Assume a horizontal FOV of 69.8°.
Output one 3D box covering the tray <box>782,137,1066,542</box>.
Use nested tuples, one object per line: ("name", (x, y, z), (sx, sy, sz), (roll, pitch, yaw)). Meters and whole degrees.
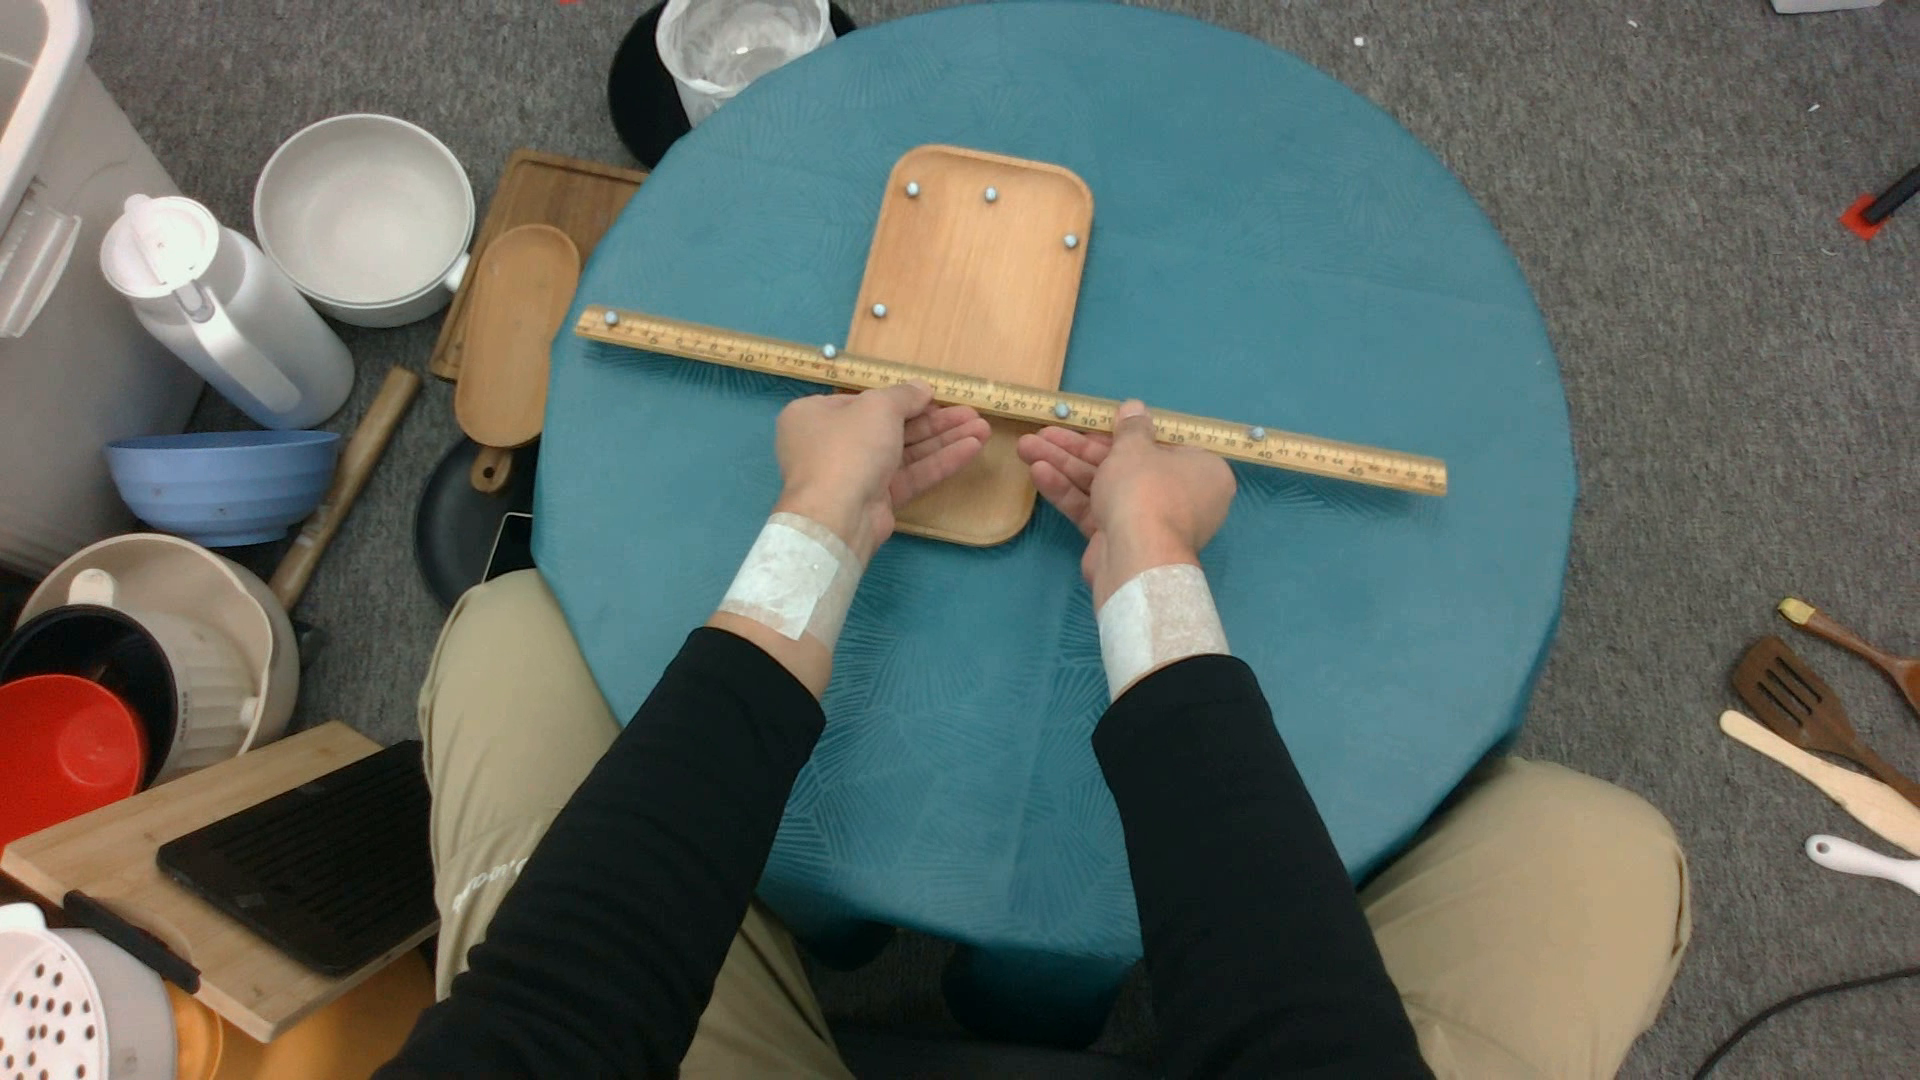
("tray", (-0.018, -0.122, 0.810), (0.130, 0.023, 0.251), (11, 72, 4))

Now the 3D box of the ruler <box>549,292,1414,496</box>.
("ruler", (0.010, -0.084, 0.784), (0.500, 0.006, 0.027), (12, 55, 2))
